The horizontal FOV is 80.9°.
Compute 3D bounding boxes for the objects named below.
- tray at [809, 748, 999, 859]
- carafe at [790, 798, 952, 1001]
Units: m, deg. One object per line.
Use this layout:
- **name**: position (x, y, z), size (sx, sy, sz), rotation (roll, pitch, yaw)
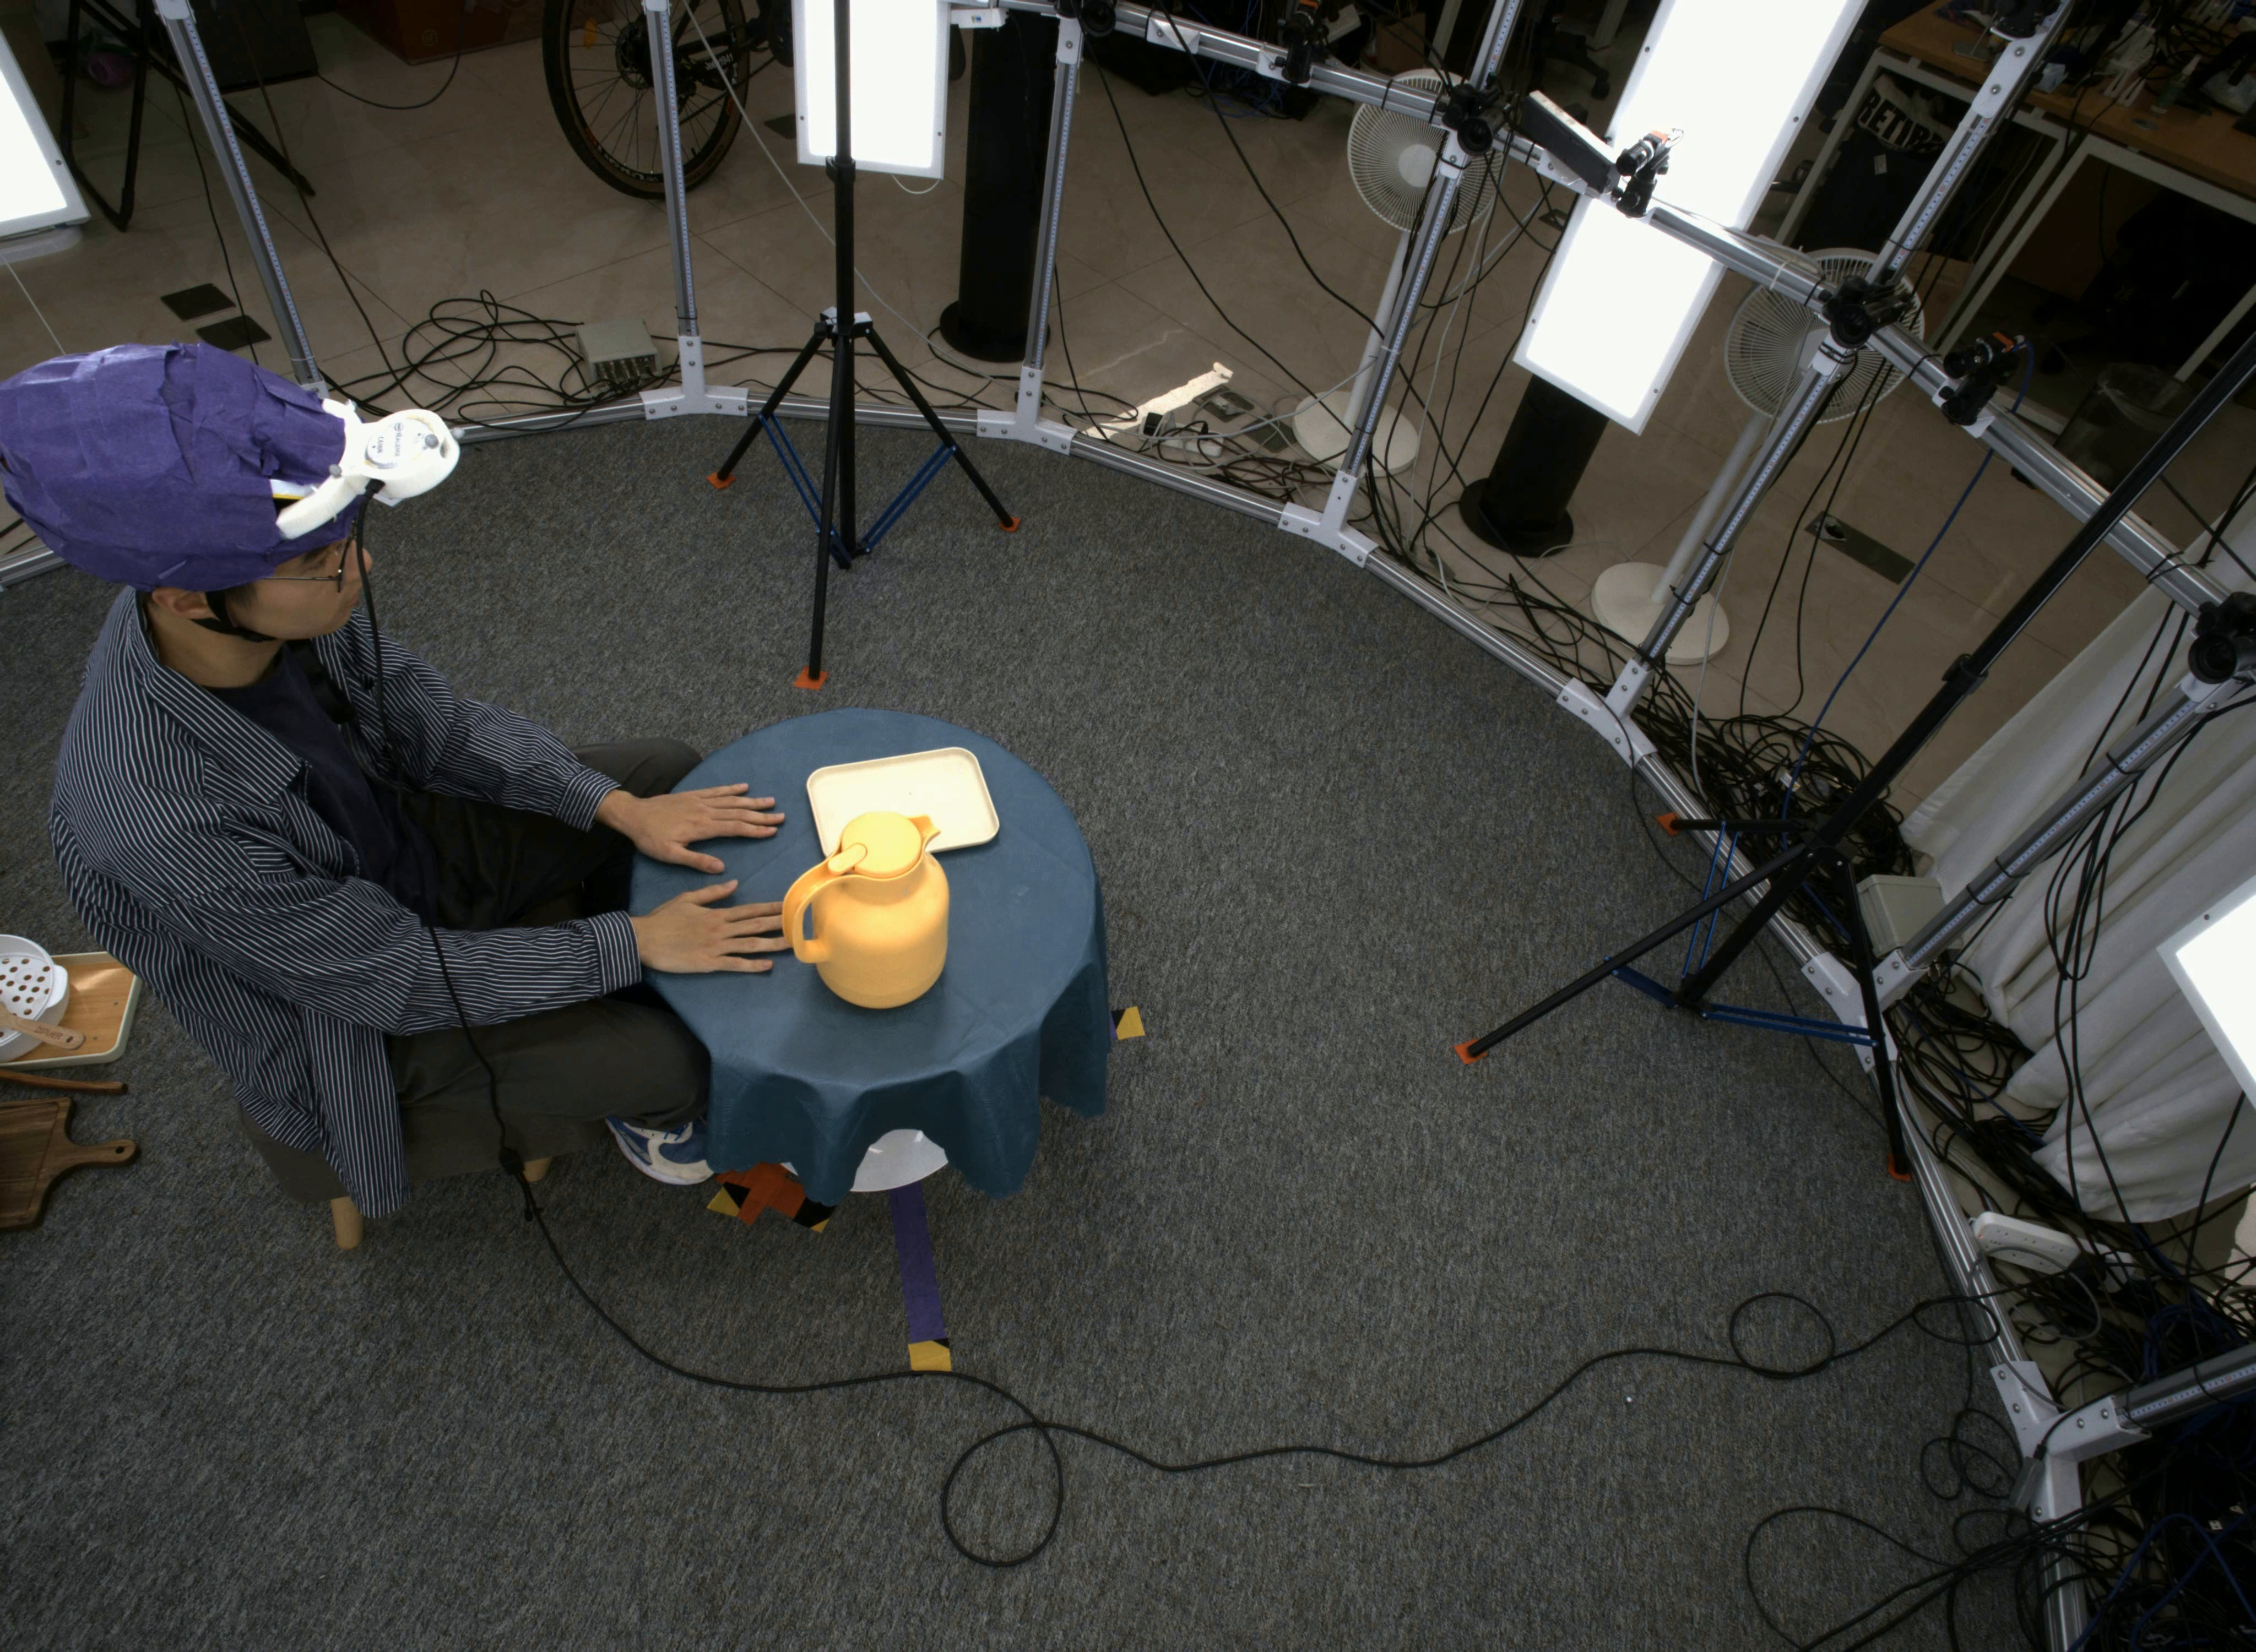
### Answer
- **tray**: position (-0.306, -0.025, 1.777), size (0.240, 0.018, 0.167), rotation (-10, 57, -20)
- **carafe**: position (-0.305, 0.088, 1.538), size (0.203, 0.266, 0.159), rotation (-31, 62, -30)
